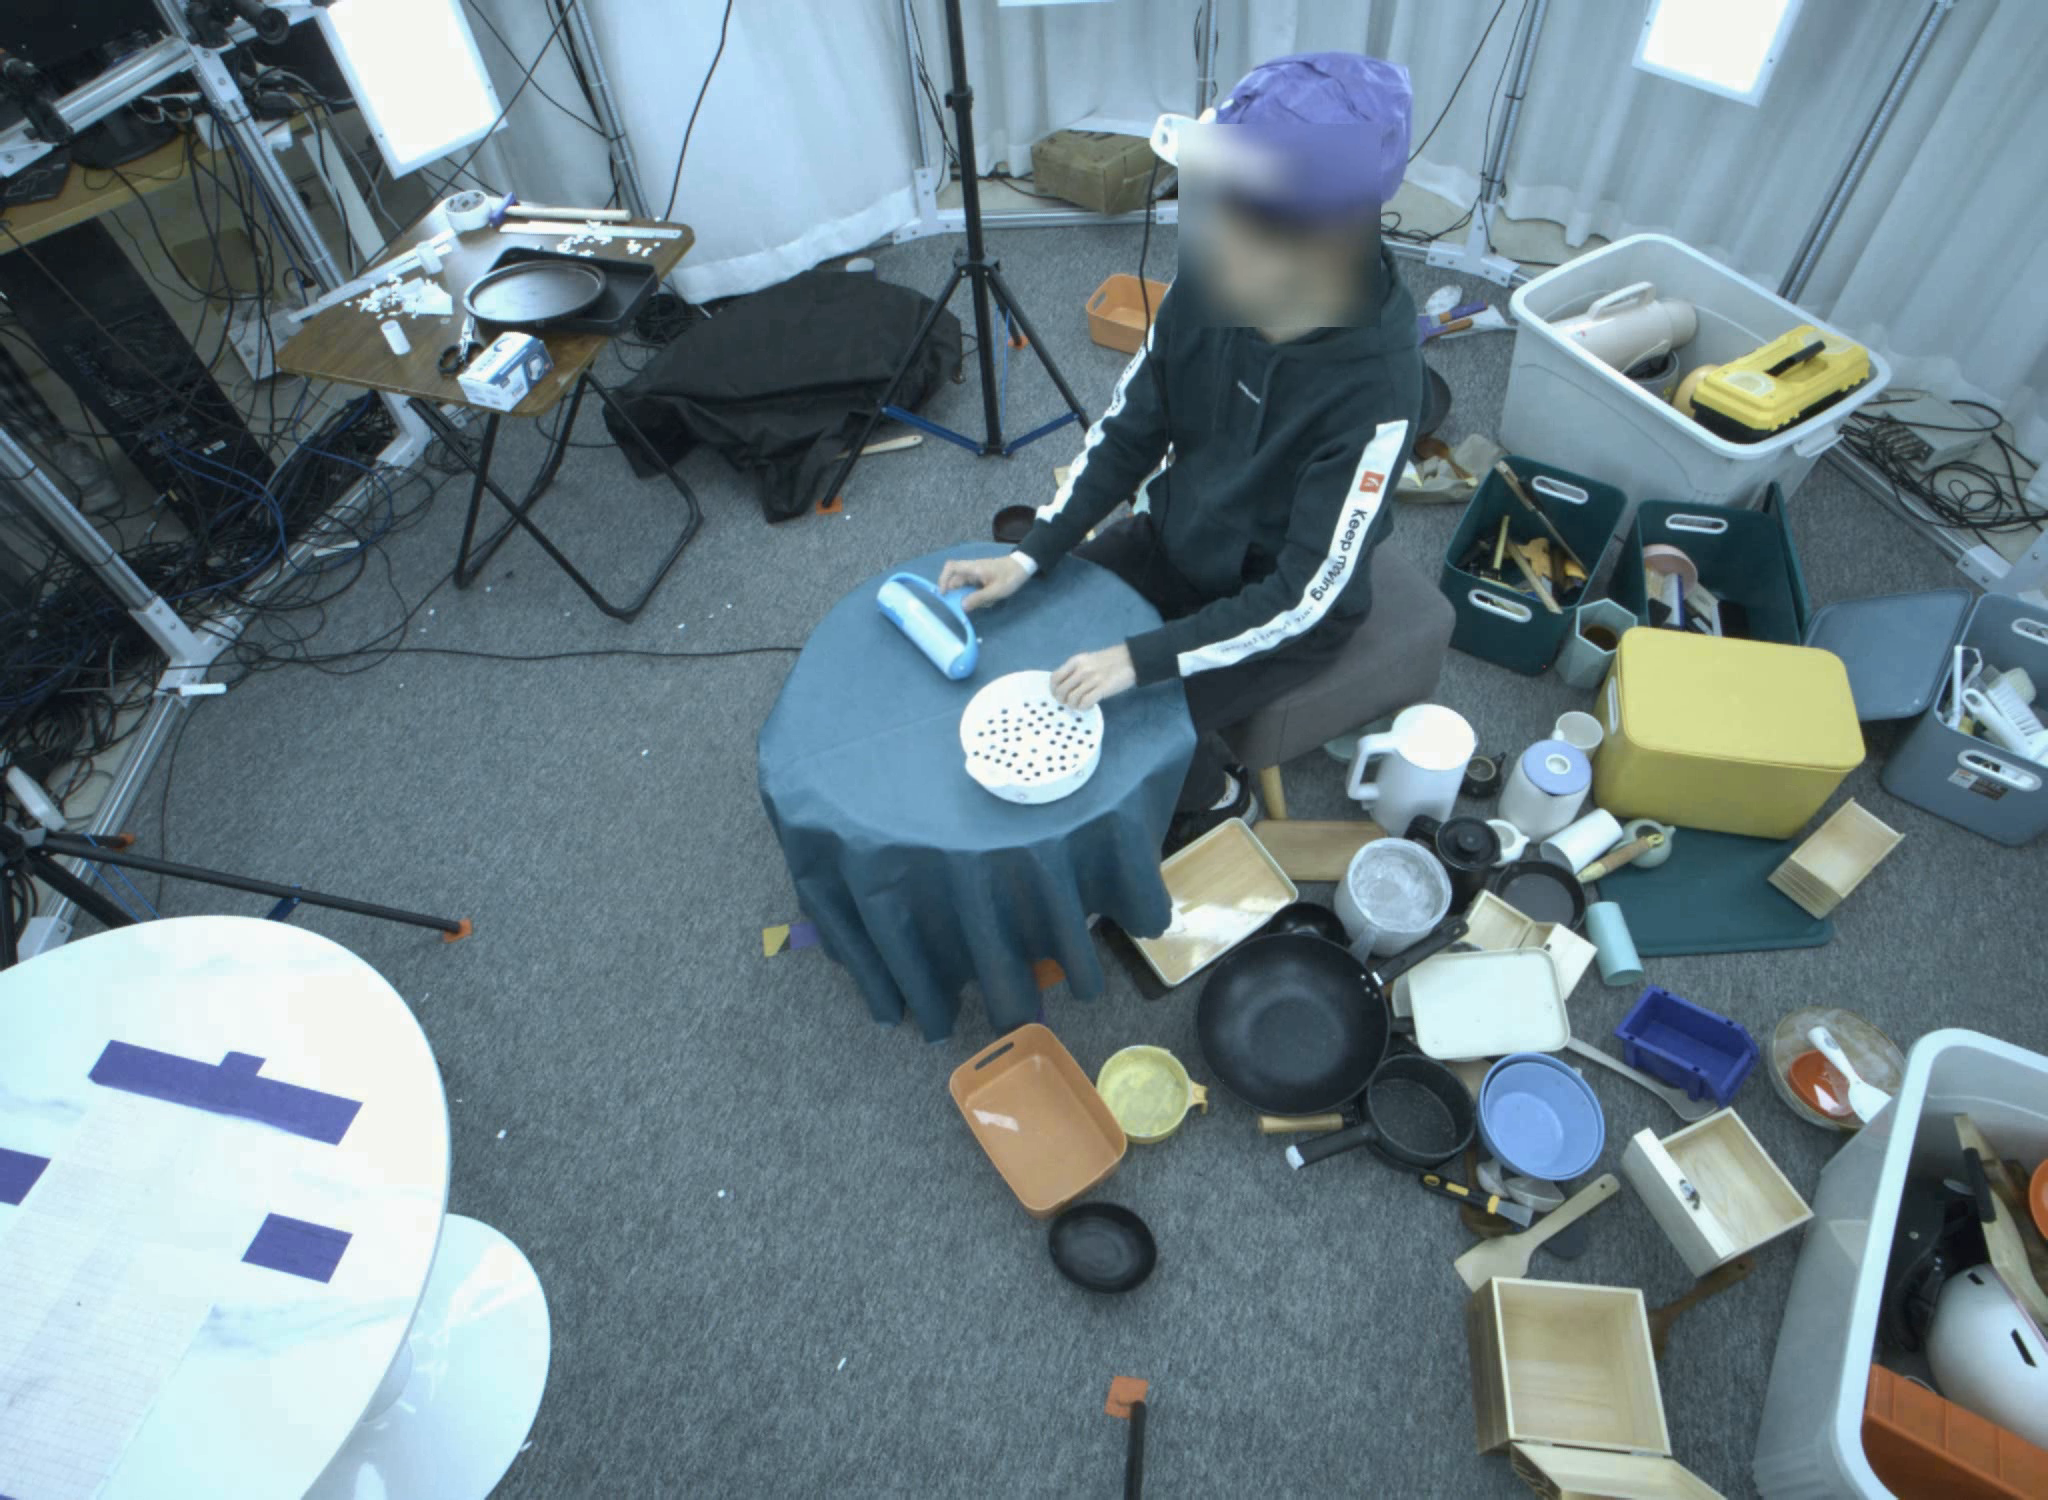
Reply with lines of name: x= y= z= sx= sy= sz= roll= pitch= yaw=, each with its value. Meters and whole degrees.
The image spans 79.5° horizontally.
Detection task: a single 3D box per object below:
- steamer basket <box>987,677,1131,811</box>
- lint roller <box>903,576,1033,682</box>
steamer basket: x=0.049 y=-0.007 z=1.744 sx=0.198 sy=0.070 sz=0.232 roll=36 pitch=63 yaw=23
lint roller: x=-0.065 y=-0.215 z=1.903 sx=0.181 sy=0.069 sz=0.224 roll=-37 pitch=59 yaw=-19
